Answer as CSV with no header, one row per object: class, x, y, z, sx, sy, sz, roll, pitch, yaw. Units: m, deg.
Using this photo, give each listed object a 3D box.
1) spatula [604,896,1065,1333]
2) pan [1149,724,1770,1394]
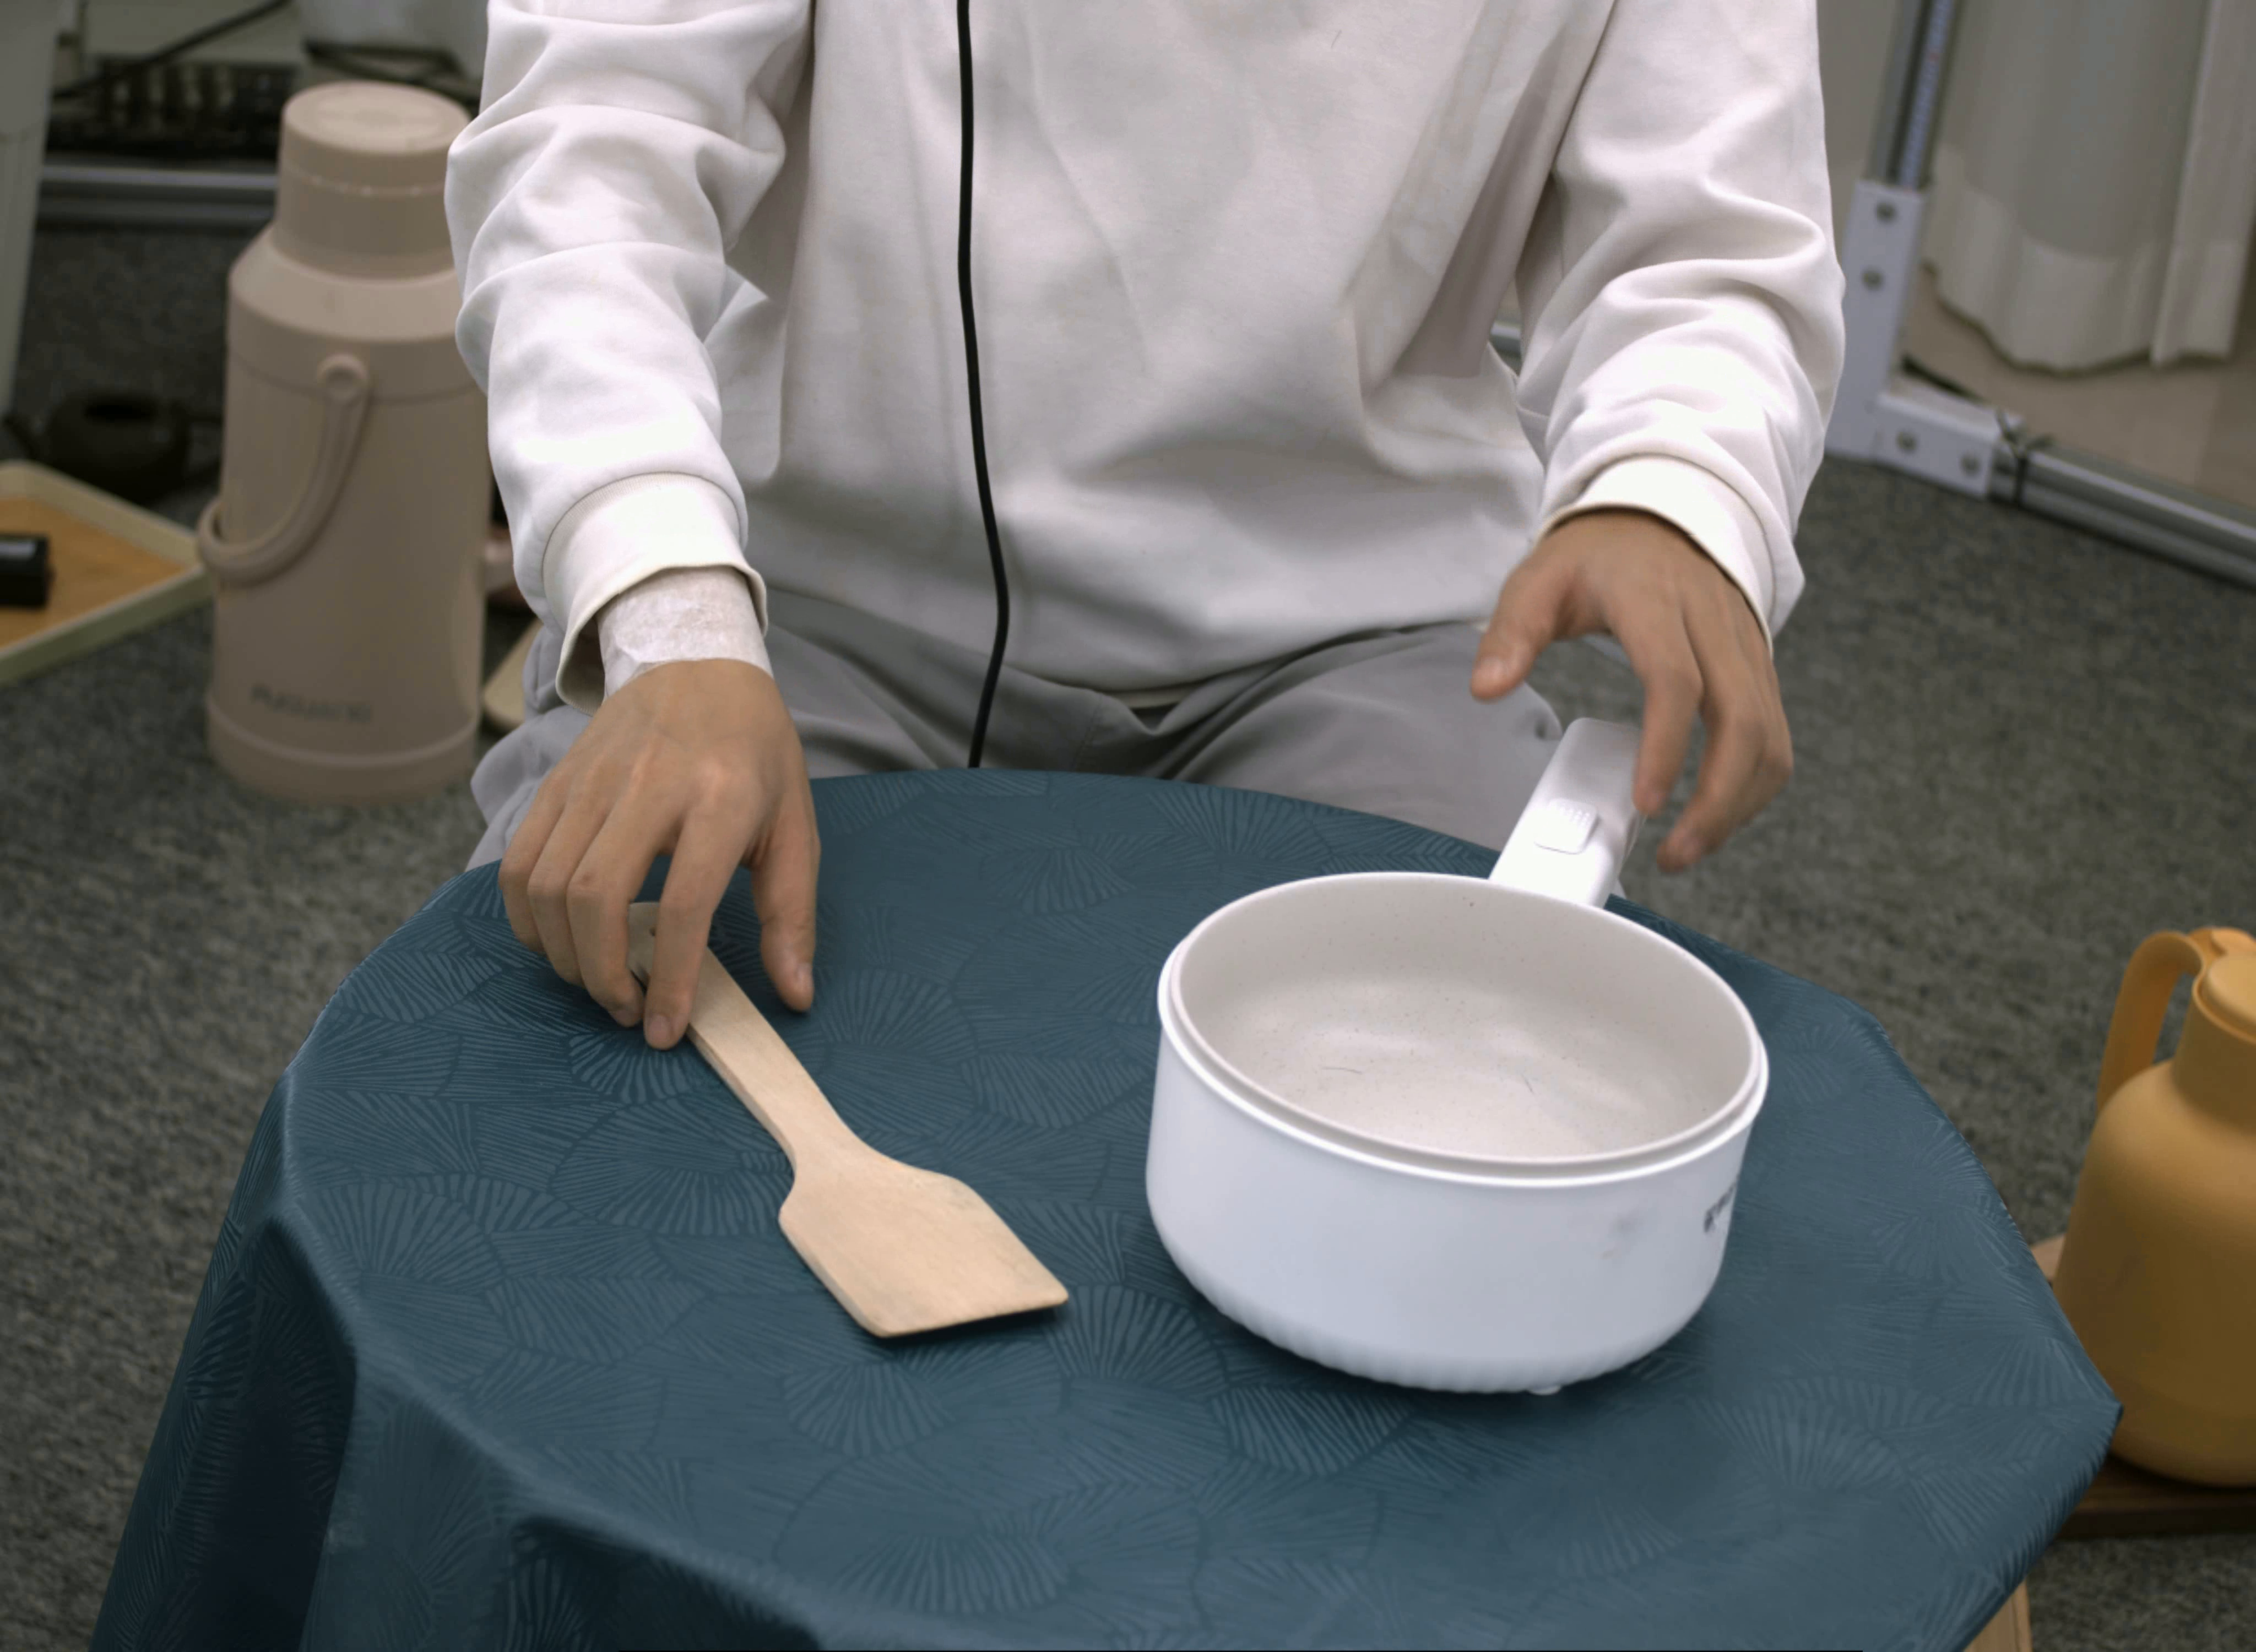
spatula,-0.116,0.094,1.827,0.072,0.010,0.296,-9,31,-26
pan,0.127,0.075,1.825,0.201,0.102,0.355,12,26,13
